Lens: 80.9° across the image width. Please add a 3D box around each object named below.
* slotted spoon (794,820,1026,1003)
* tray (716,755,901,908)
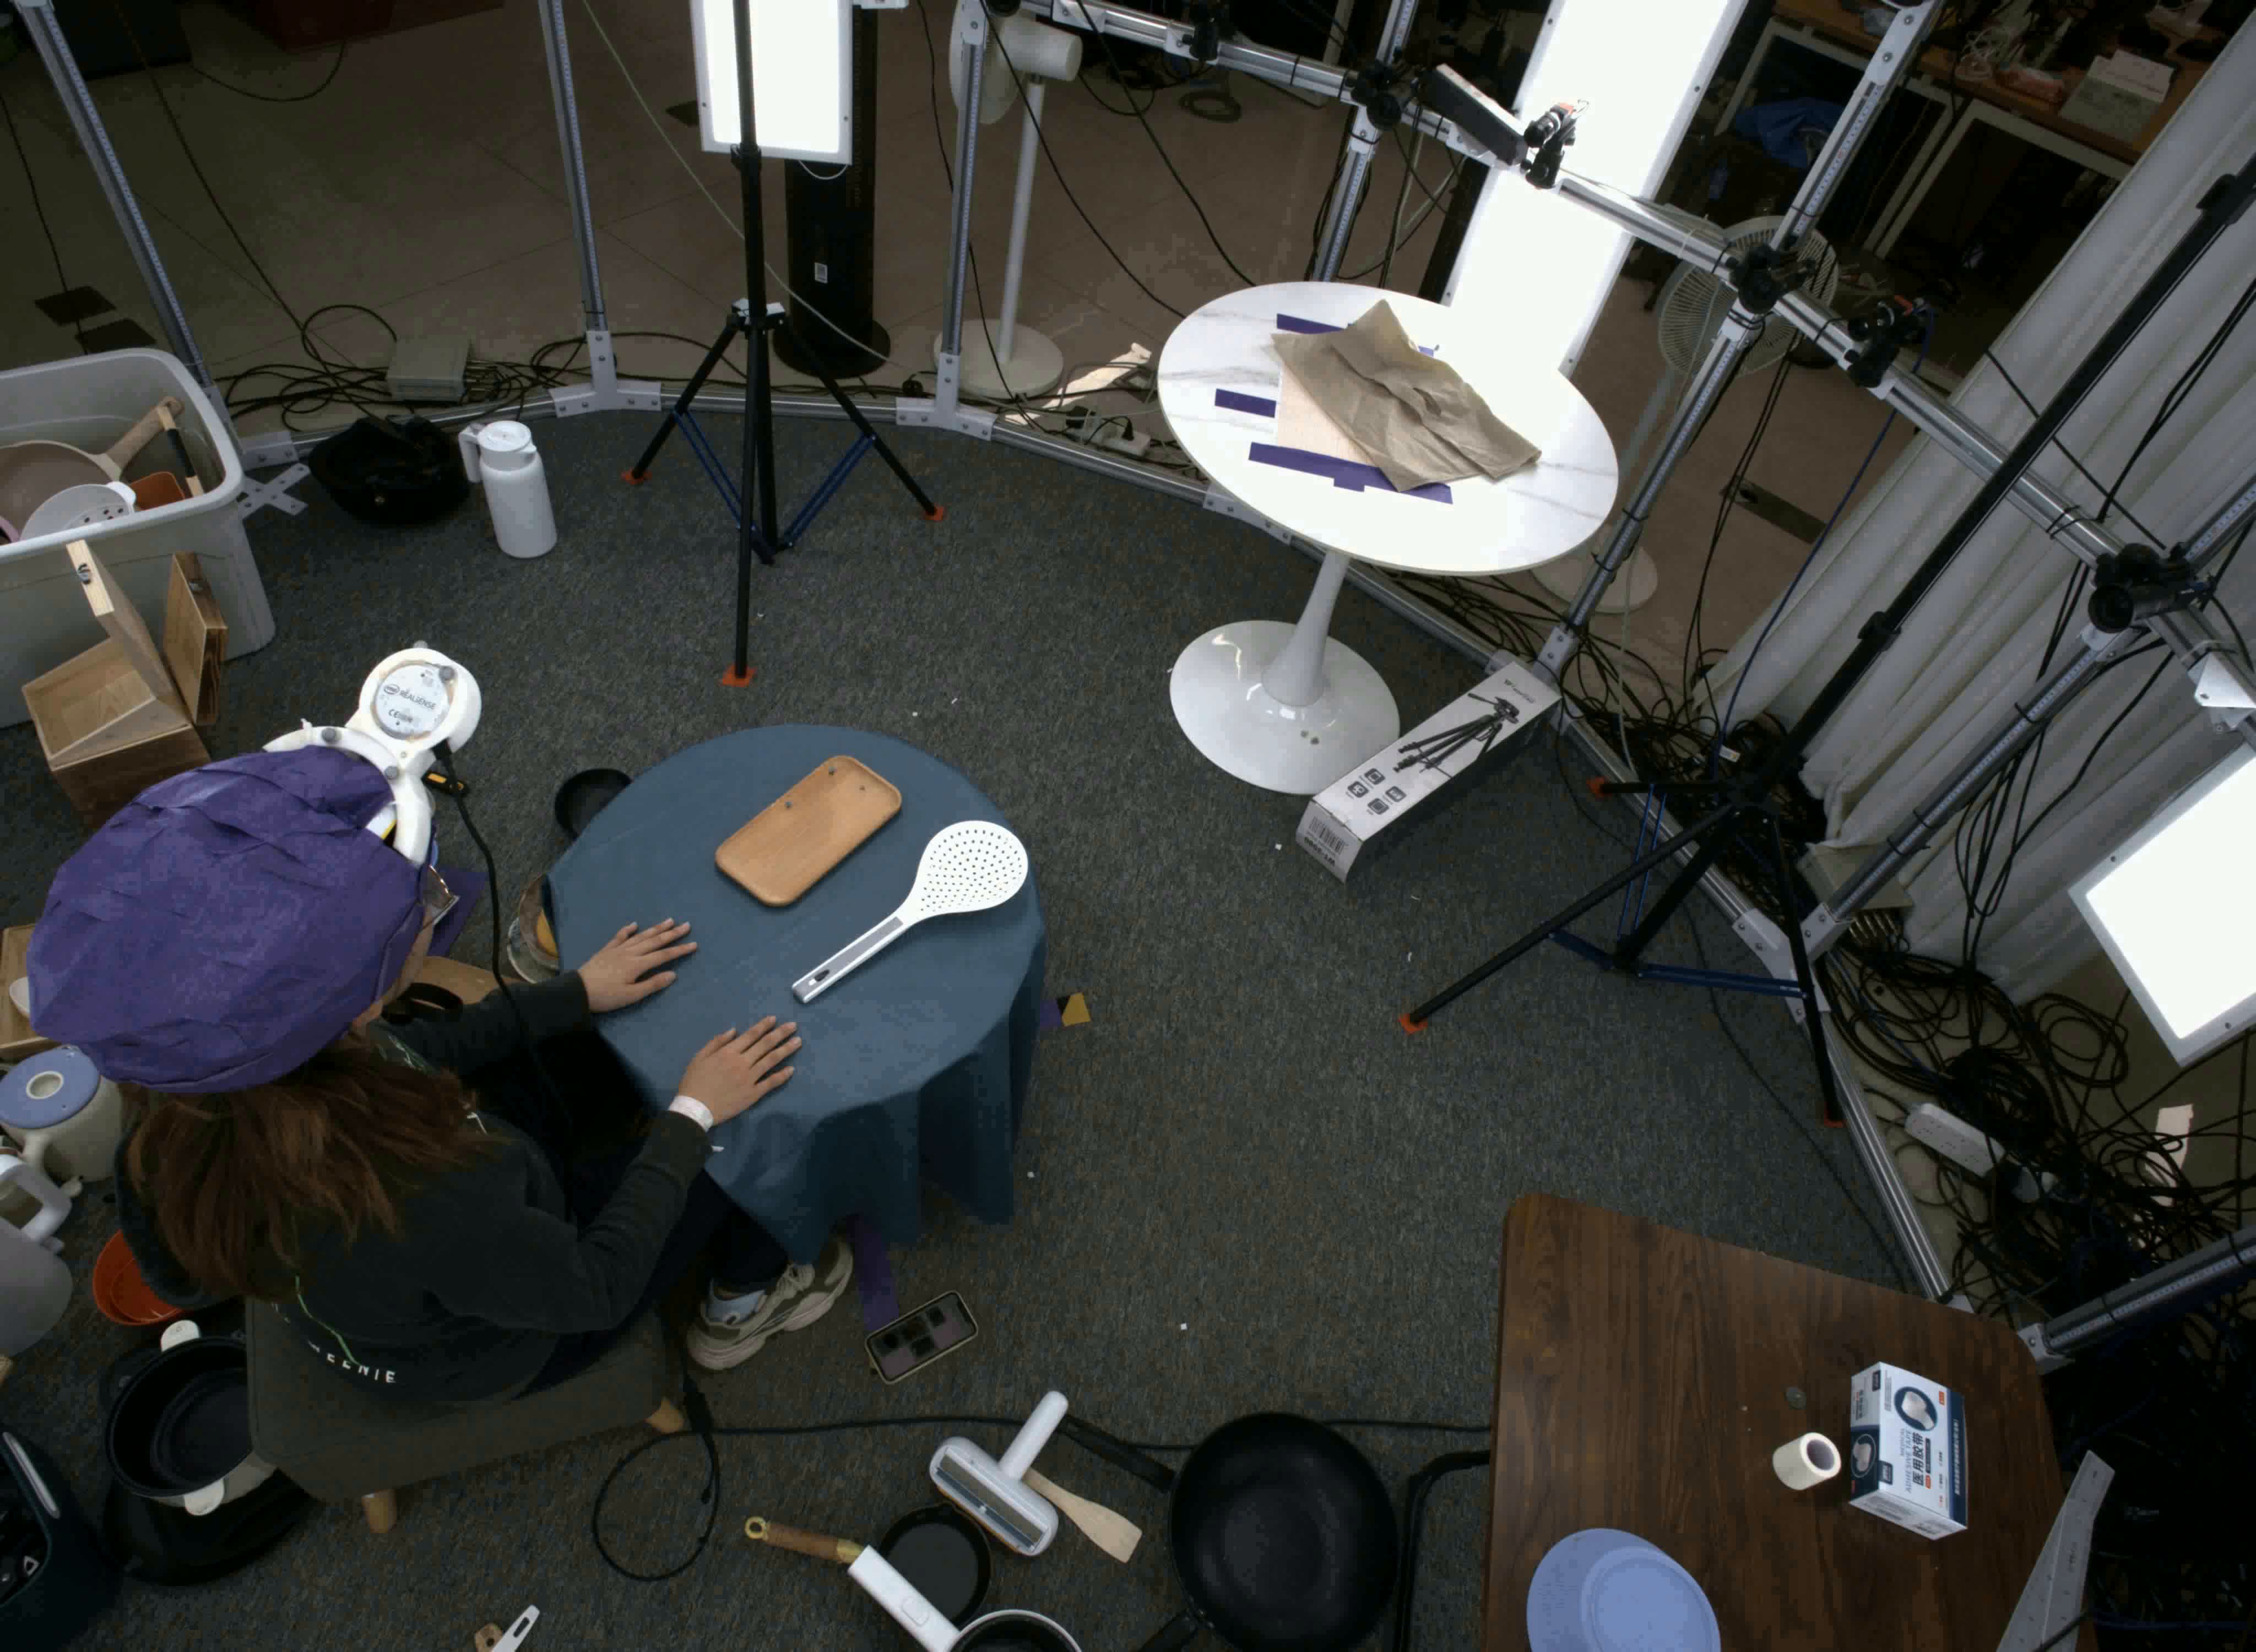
[{"bbox_3d":[-0.277,0.110,1.656,0.133,0.047,0.350,42,56,20],"label":"slotted spoon"},{"bbox_3d":[-0.420,0.004,1.717,0.128,0.023,0.250,34,54,14],"label":"tray"}]
